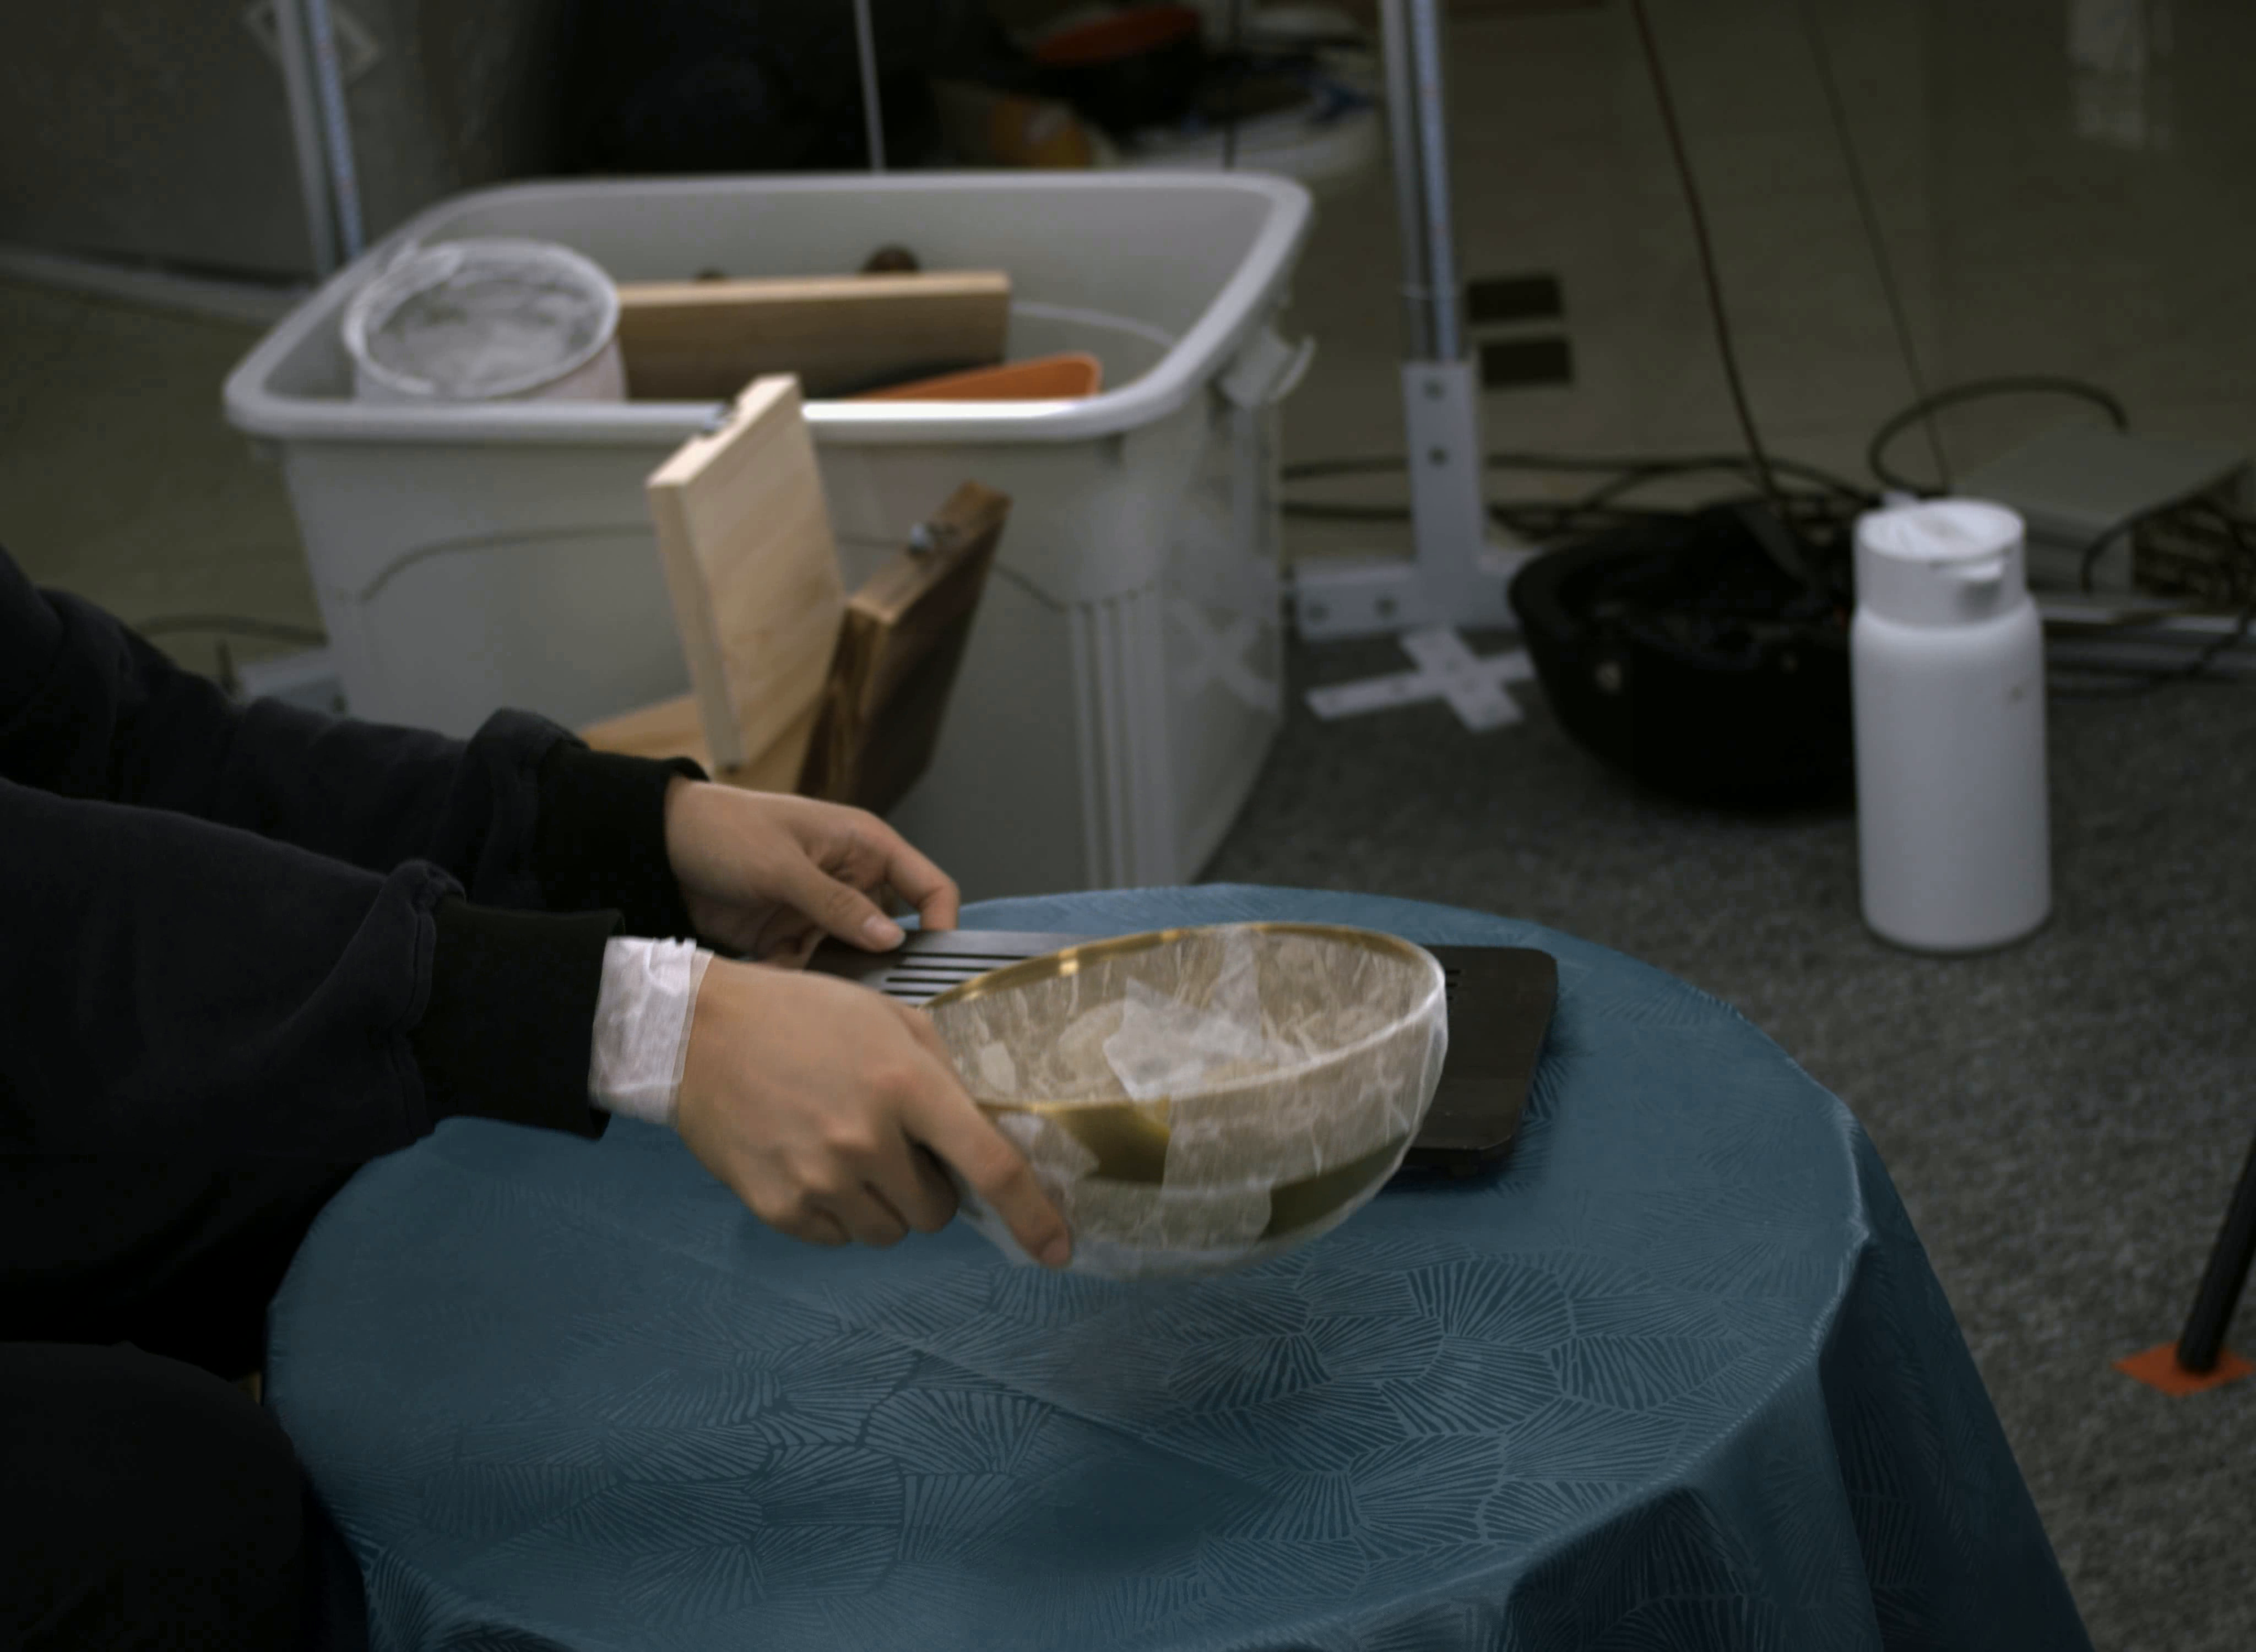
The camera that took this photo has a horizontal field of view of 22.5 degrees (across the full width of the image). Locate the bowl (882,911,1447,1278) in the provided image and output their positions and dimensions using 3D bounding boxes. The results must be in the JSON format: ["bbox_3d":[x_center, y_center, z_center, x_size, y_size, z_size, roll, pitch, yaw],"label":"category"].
[{"bbox_3d":[0.016,0.104,2.016,0.214,0.096,0.212,-8,16,3],"label":"bowl"}]

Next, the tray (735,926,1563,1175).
[{"bbox_3d":[0.011,0.087,2.225,0.305,0.019,0.167,2,26,11],"label":"tray"}]
